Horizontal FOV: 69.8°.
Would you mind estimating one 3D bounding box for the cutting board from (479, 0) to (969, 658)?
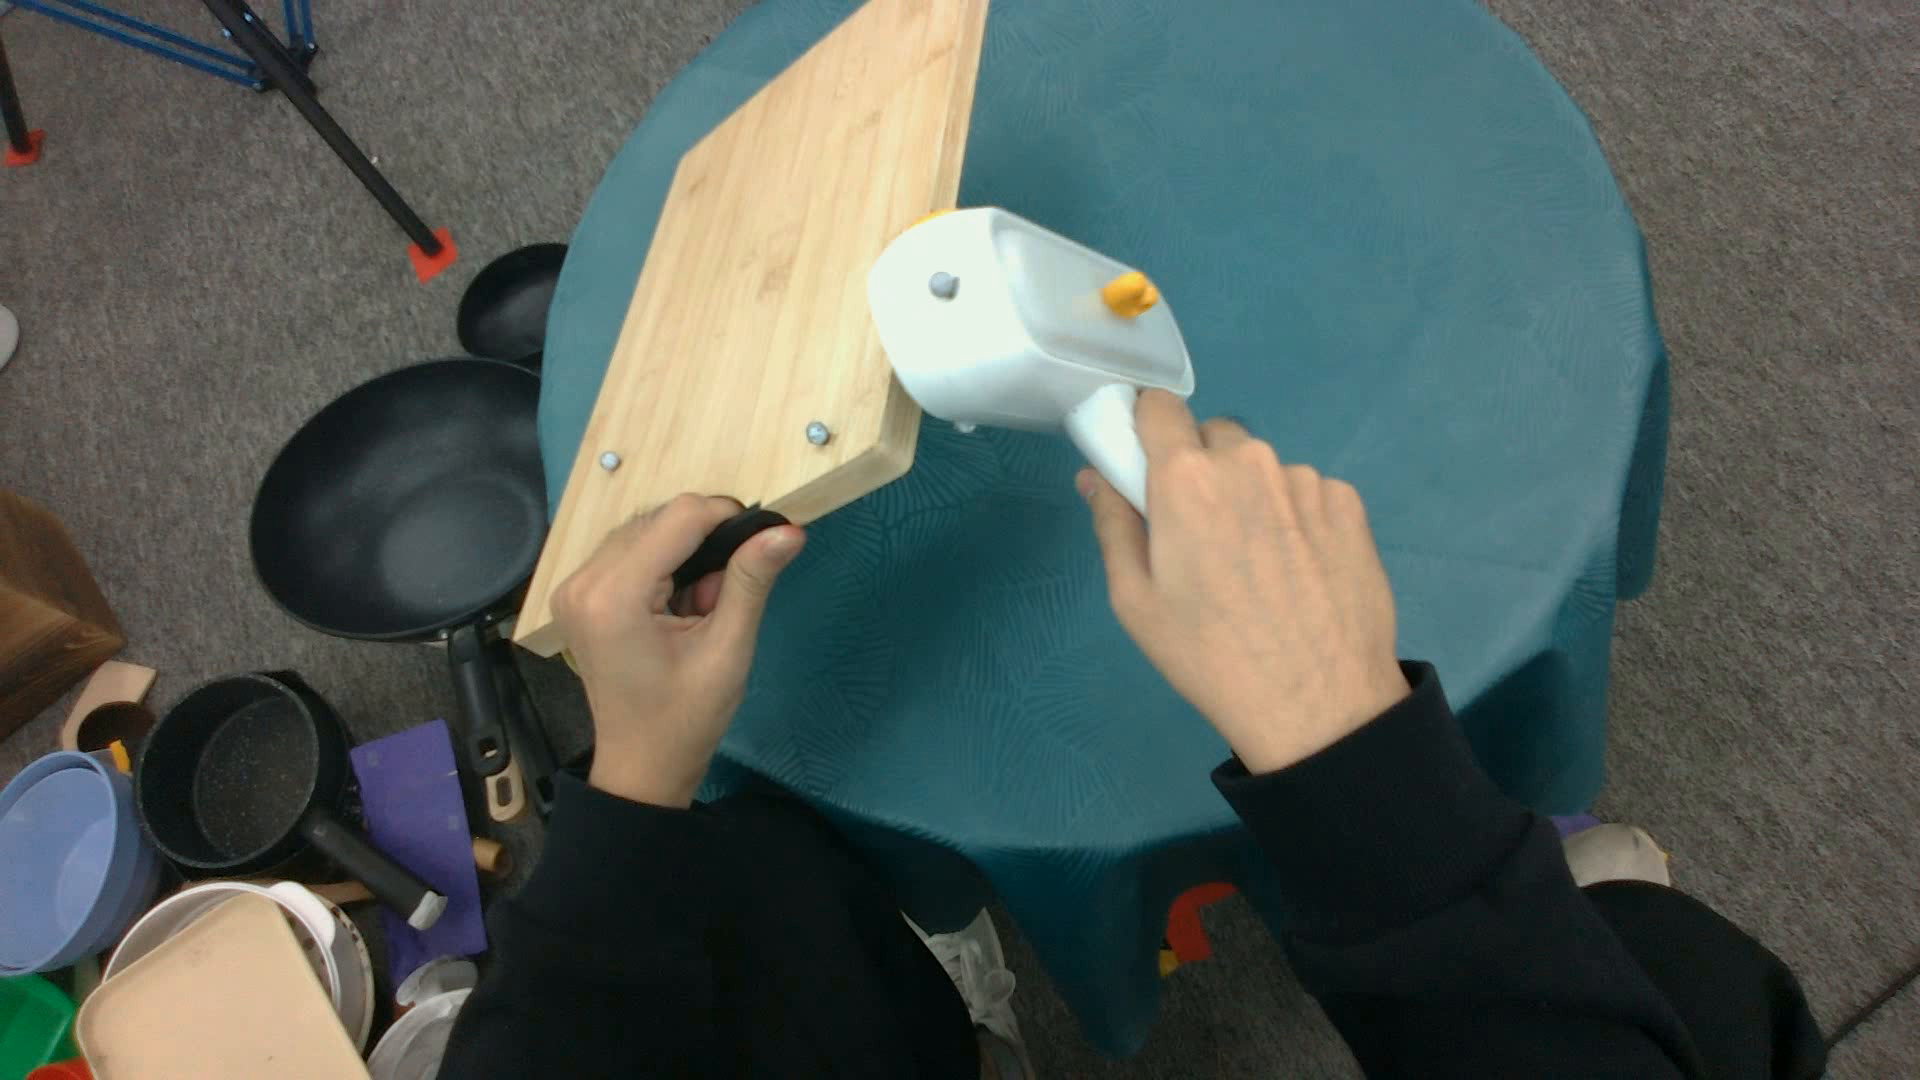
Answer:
[{"bbox_3d":[-0.102,-0.128,0.651,0.249,0.023,0.350,-25,44,35],"label":"cutting board"}]

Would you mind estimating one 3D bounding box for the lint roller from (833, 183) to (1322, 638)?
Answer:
[{"bbox_3d":[0.055,-0.038,0.504,0.074,0.193,0.192,-35,78,19],"label":"lint roller"}]
